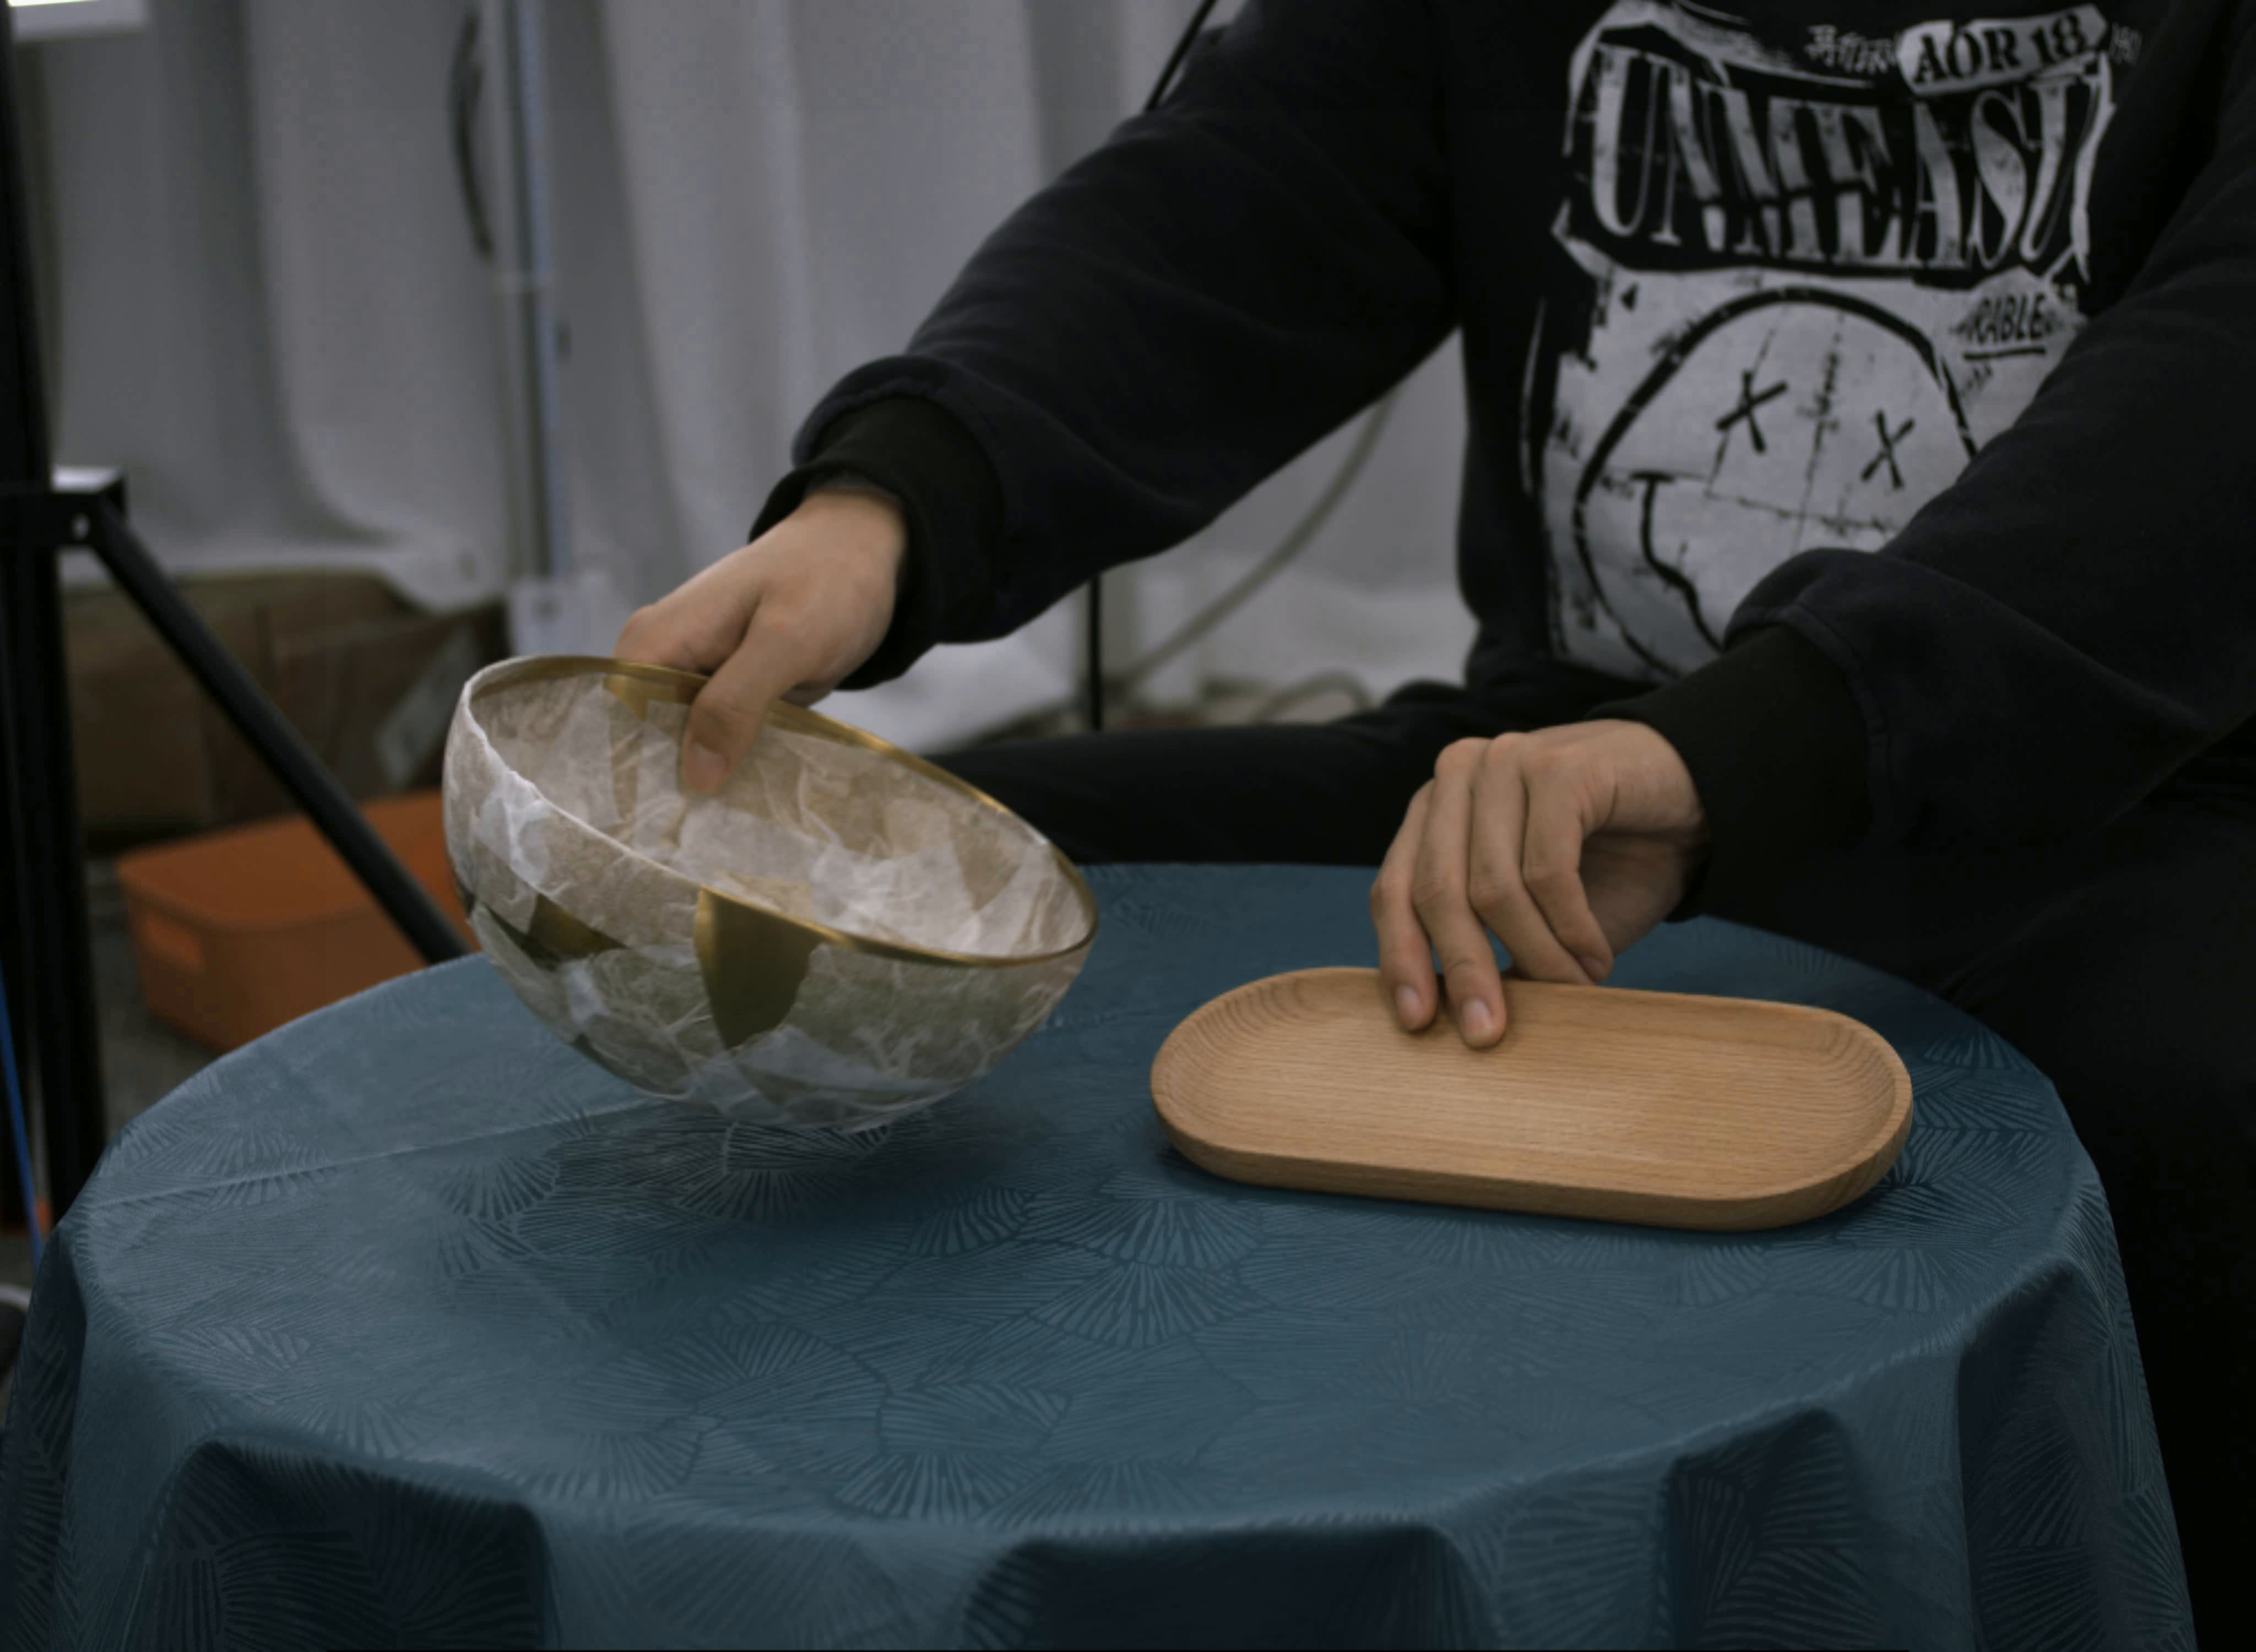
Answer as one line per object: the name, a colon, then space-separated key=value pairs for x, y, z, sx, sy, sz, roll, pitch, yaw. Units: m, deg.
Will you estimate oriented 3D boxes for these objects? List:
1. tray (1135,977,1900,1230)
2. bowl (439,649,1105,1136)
tray: x=0.114 y=0.082 z=1.562 sx=0.234 sy=0.020 sz=0.101 roll=2 pitch=31 yaw=24
bowl: x=-0.116 y=0.034 z=1.597 sx=0.212 sy=0.095 sz=0.216 roll=21 pitch=16 yaw=-8
